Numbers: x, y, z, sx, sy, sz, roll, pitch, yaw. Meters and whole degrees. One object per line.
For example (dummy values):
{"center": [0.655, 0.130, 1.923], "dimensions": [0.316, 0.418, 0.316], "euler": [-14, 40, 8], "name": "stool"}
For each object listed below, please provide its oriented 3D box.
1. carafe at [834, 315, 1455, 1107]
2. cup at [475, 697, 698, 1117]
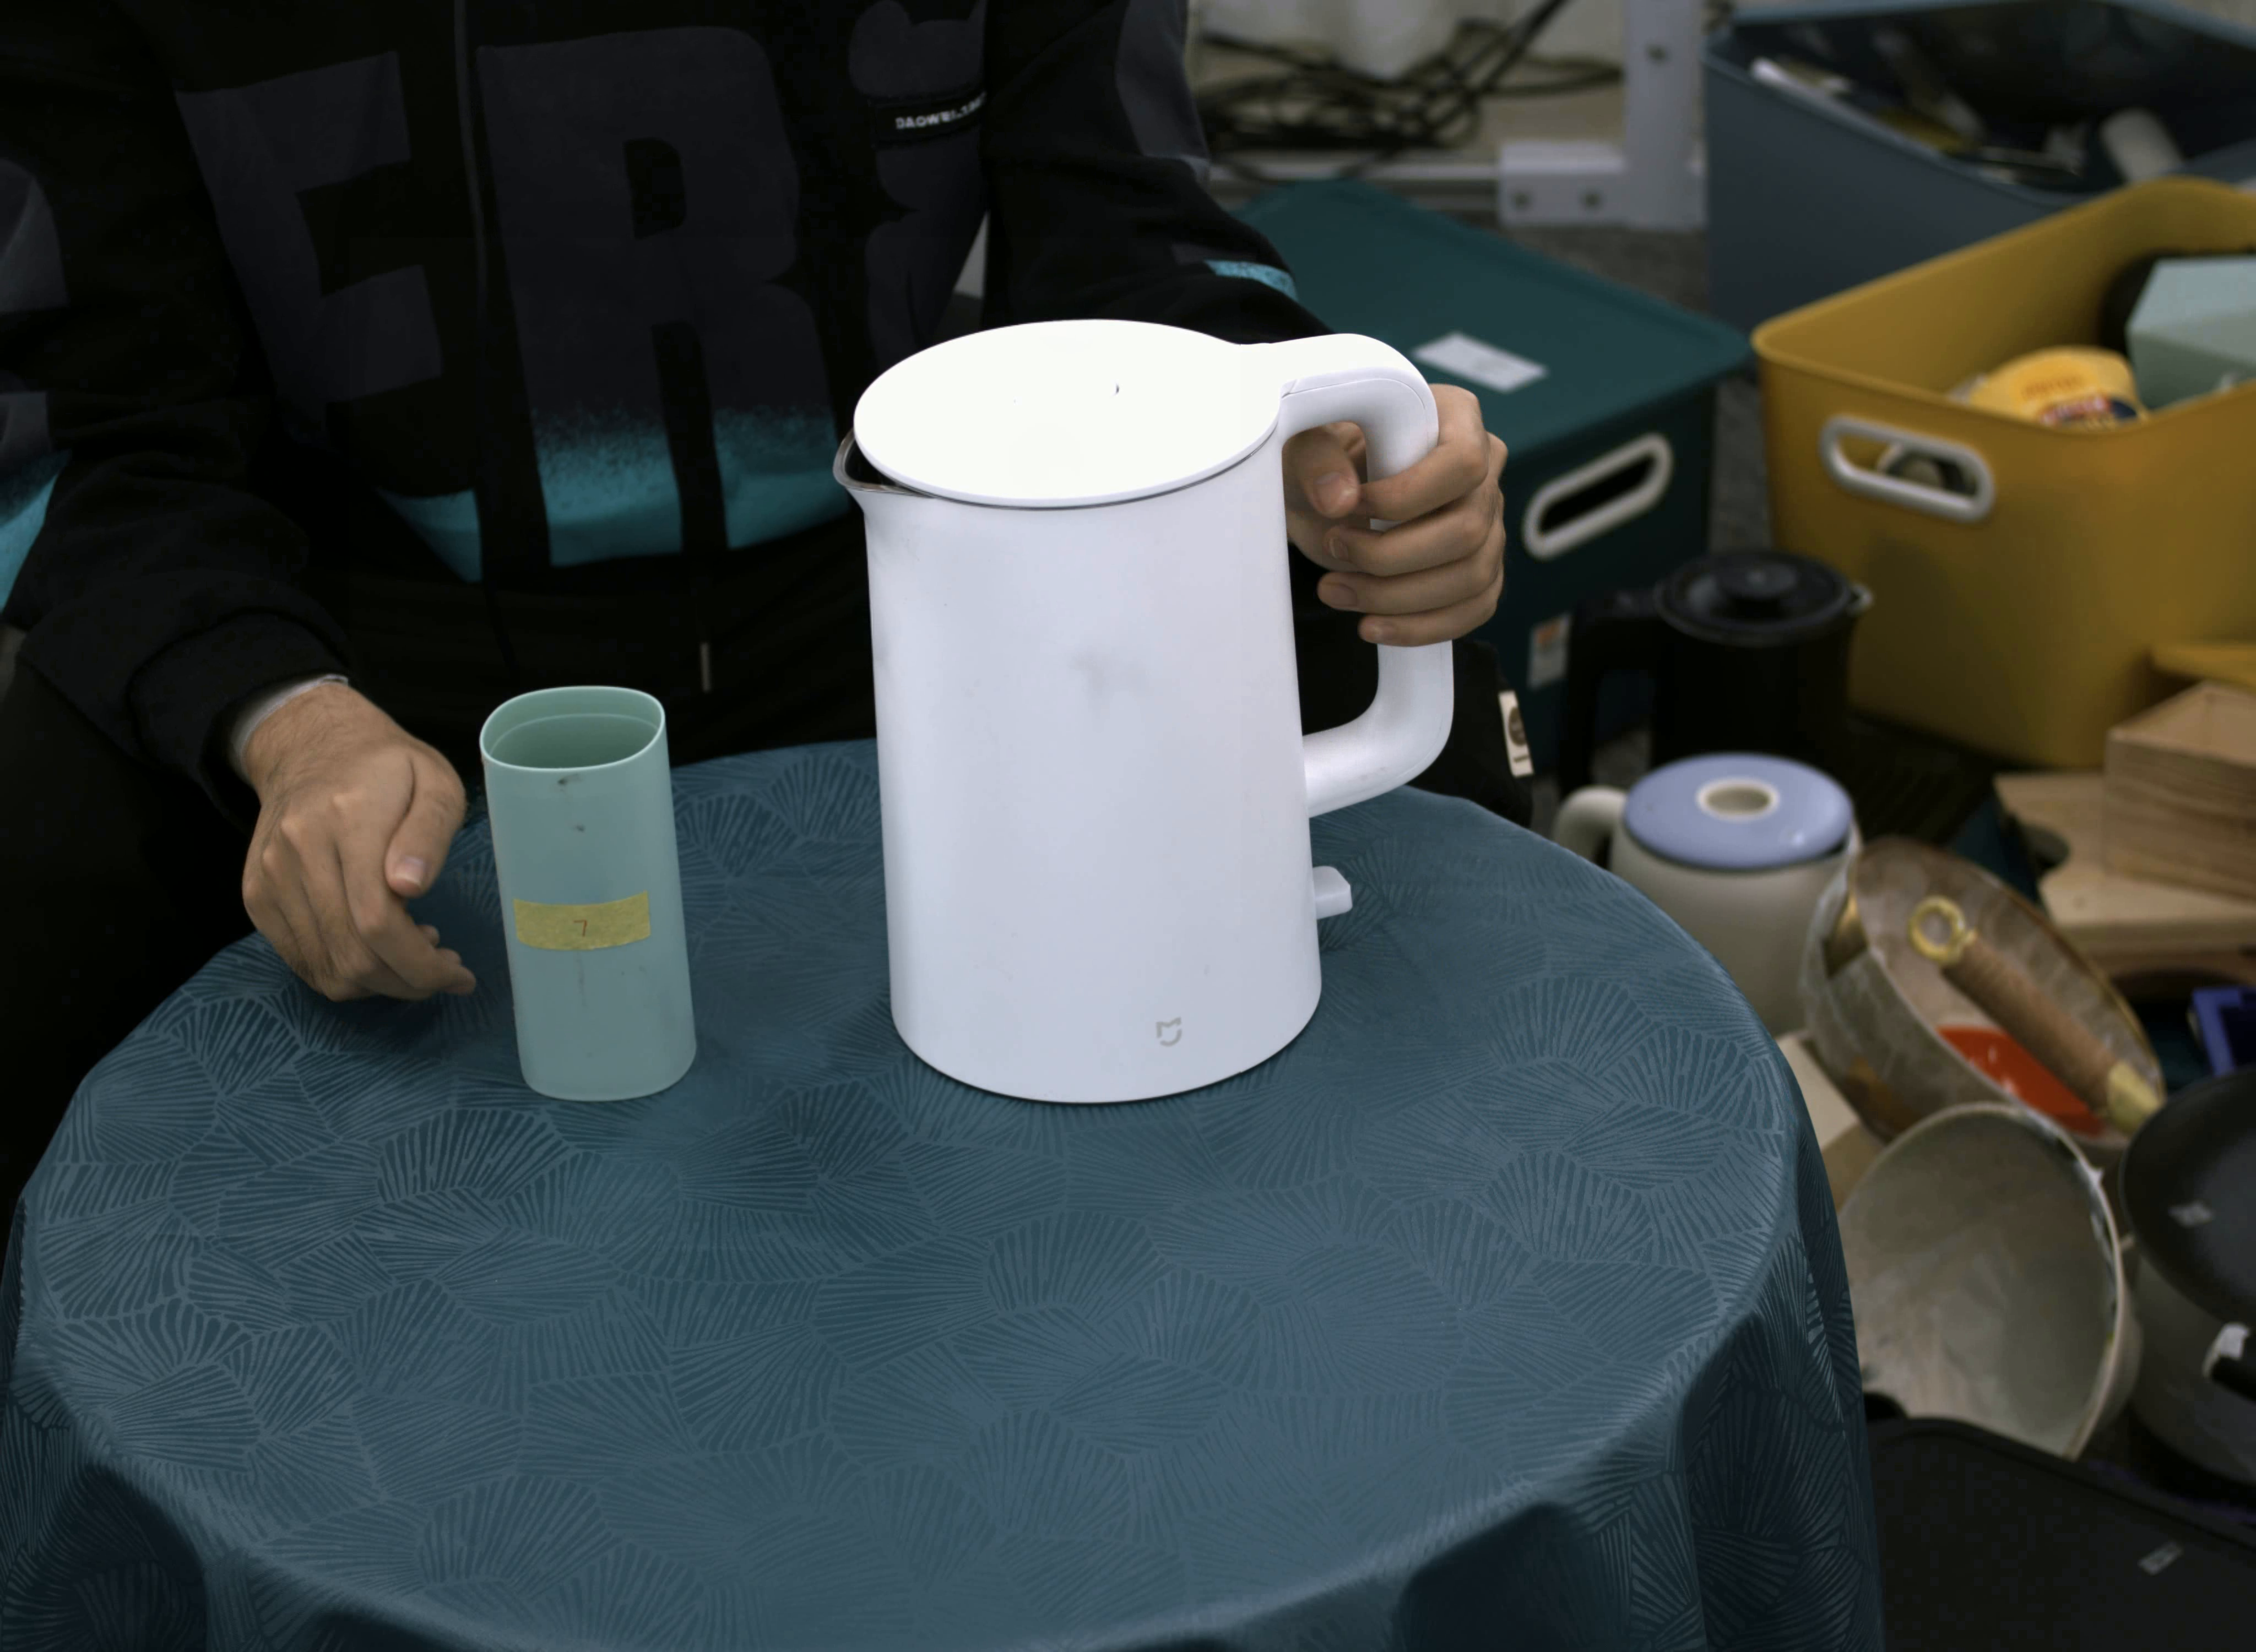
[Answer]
{"center": [0.011, -0.045, 1.932], "dimensions": [0.213, 0.237, 0.153], "euler": [-13, 29, -17], "name": "carafe"}
{"center": [-0.184, 0.027, 1.926], "dimensions": [0.066, 0.131, 0.068], "euler": [-3, 27, 2], "name": "cup"}
